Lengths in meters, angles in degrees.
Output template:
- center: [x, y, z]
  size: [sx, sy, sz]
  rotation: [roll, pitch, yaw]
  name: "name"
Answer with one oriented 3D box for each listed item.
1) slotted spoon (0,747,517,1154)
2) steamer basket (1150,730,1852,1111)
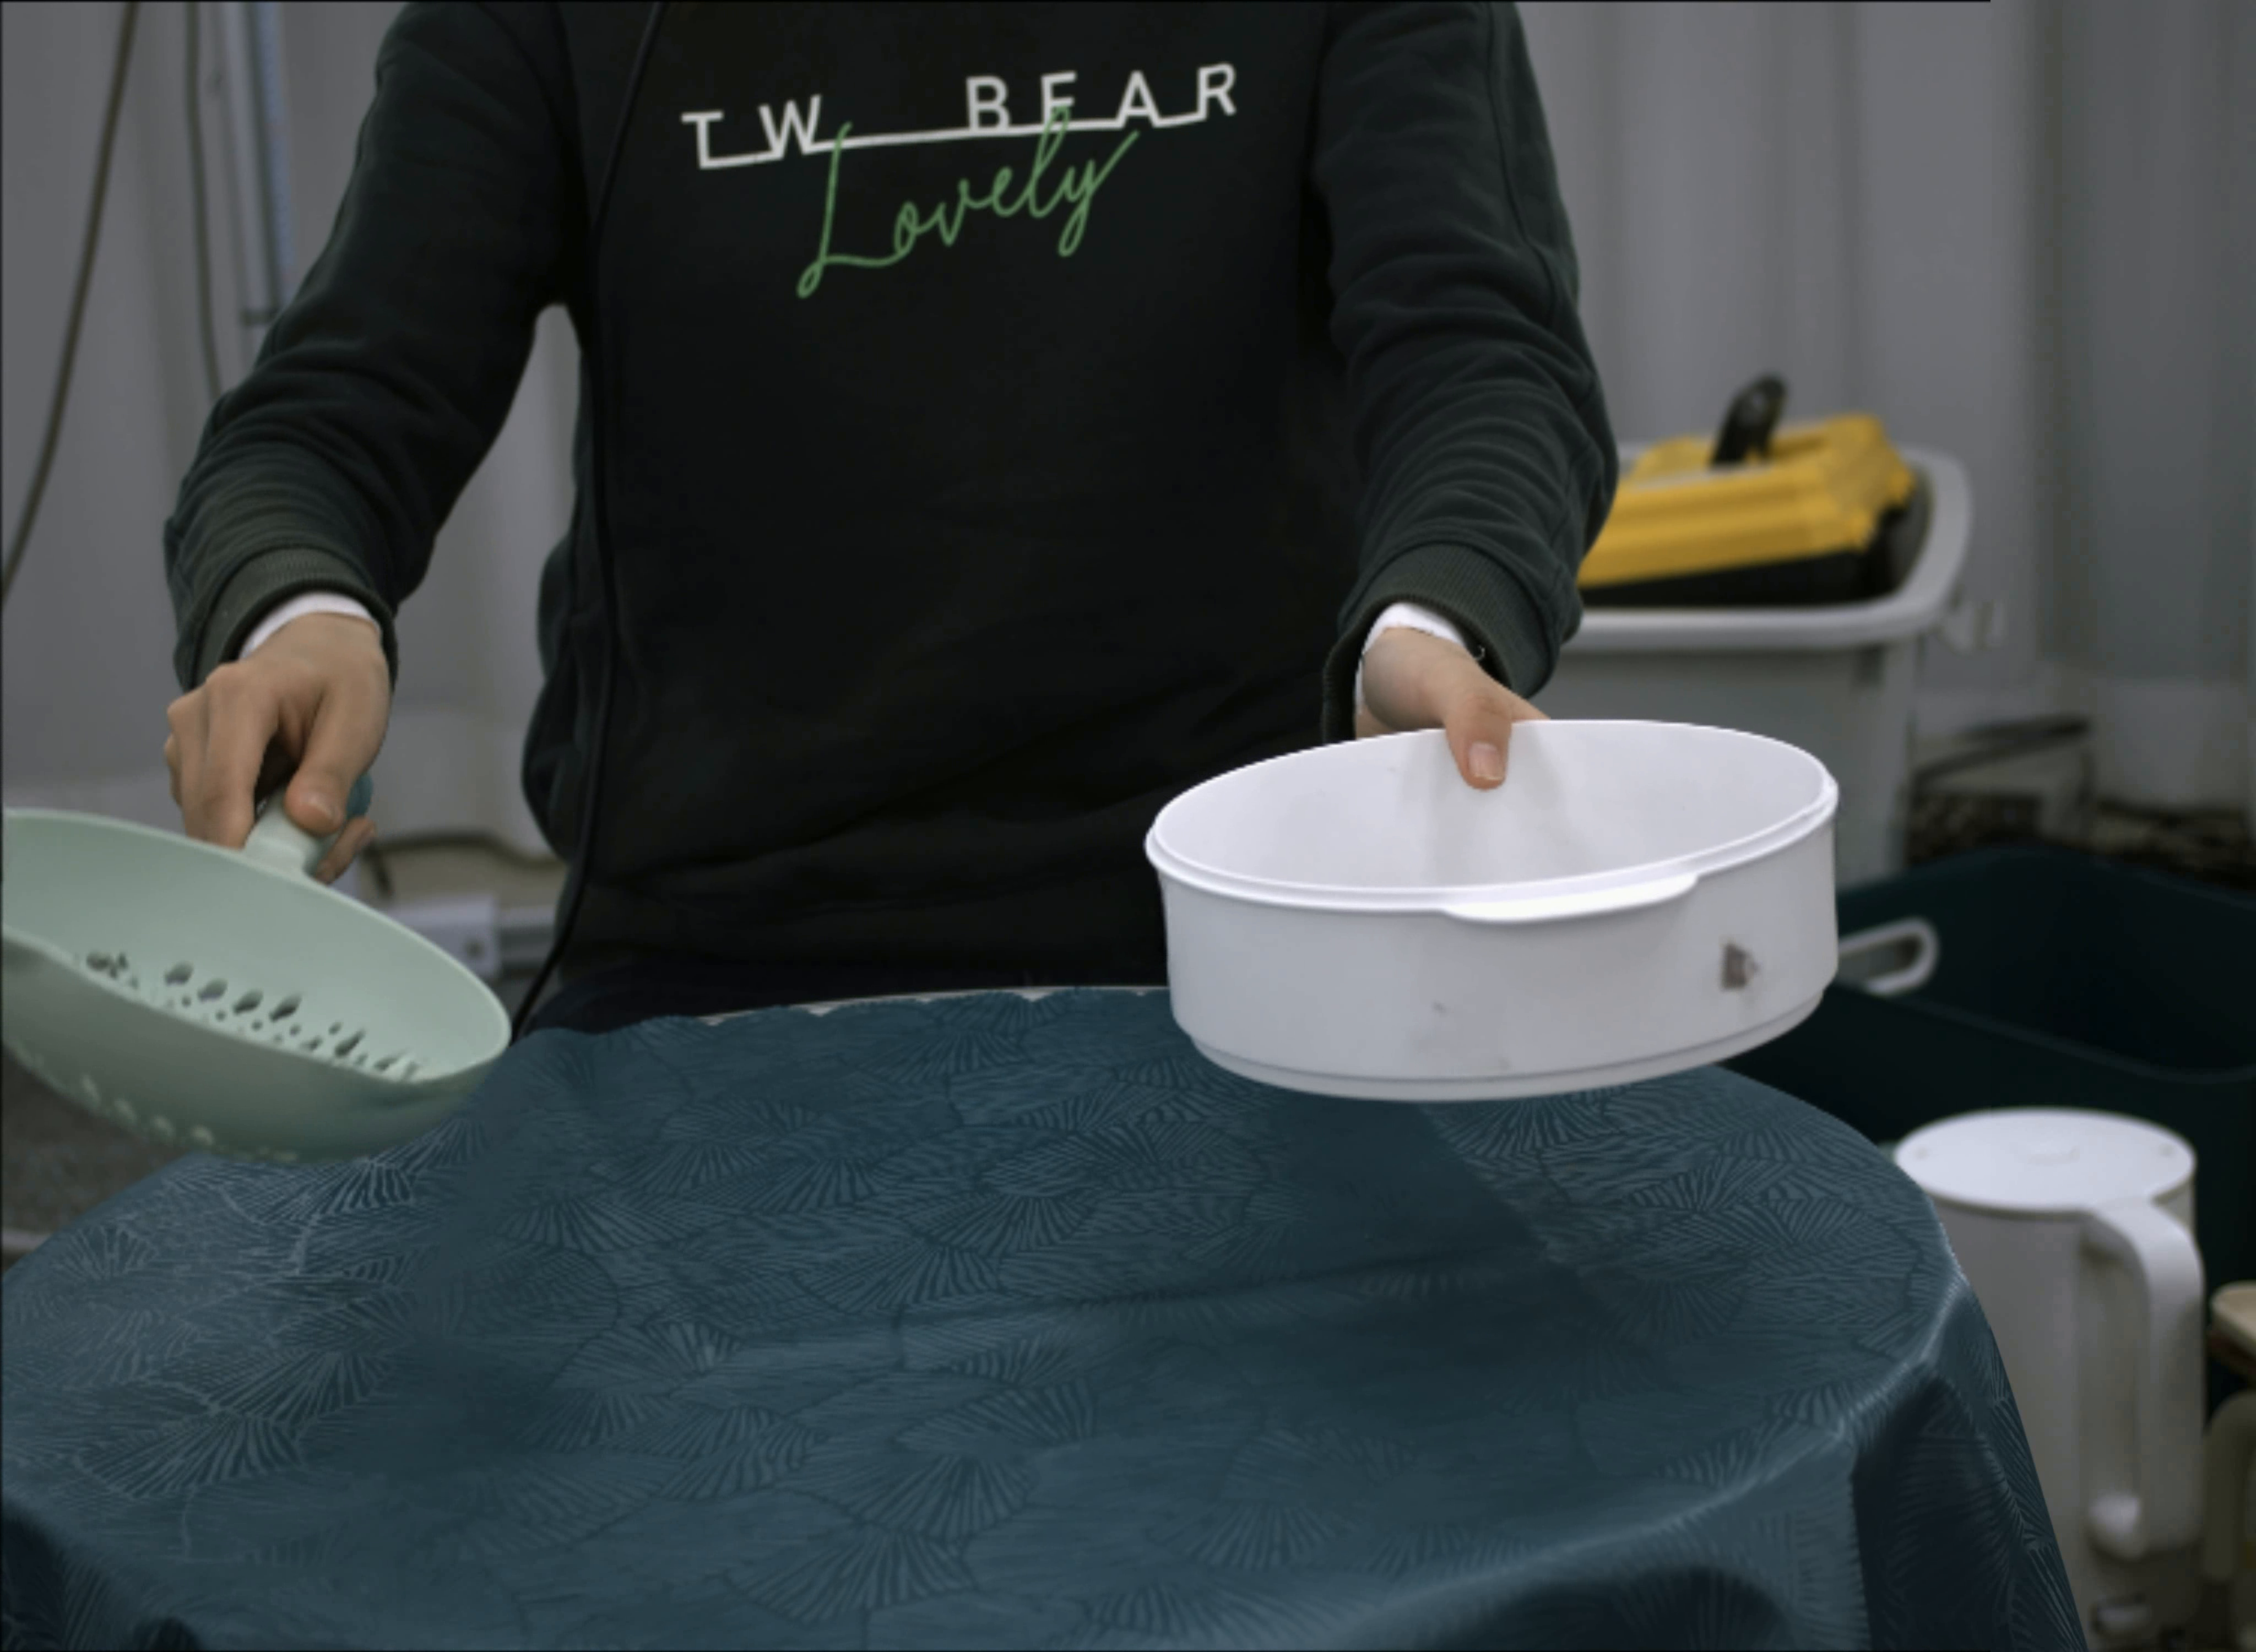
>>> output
- center: [-0.260, 0.019, 1.652]
  size: [0.168, 0.075, 0.362]
  rotation: [22, 18, -6]
  name: "slotted spoon"
- center: [0.108, 0.027, 1.575]
  size: [0.201, 0.069, 0.232]
  rotation: [-6, 14, -9]
  name: "steamer basket"
